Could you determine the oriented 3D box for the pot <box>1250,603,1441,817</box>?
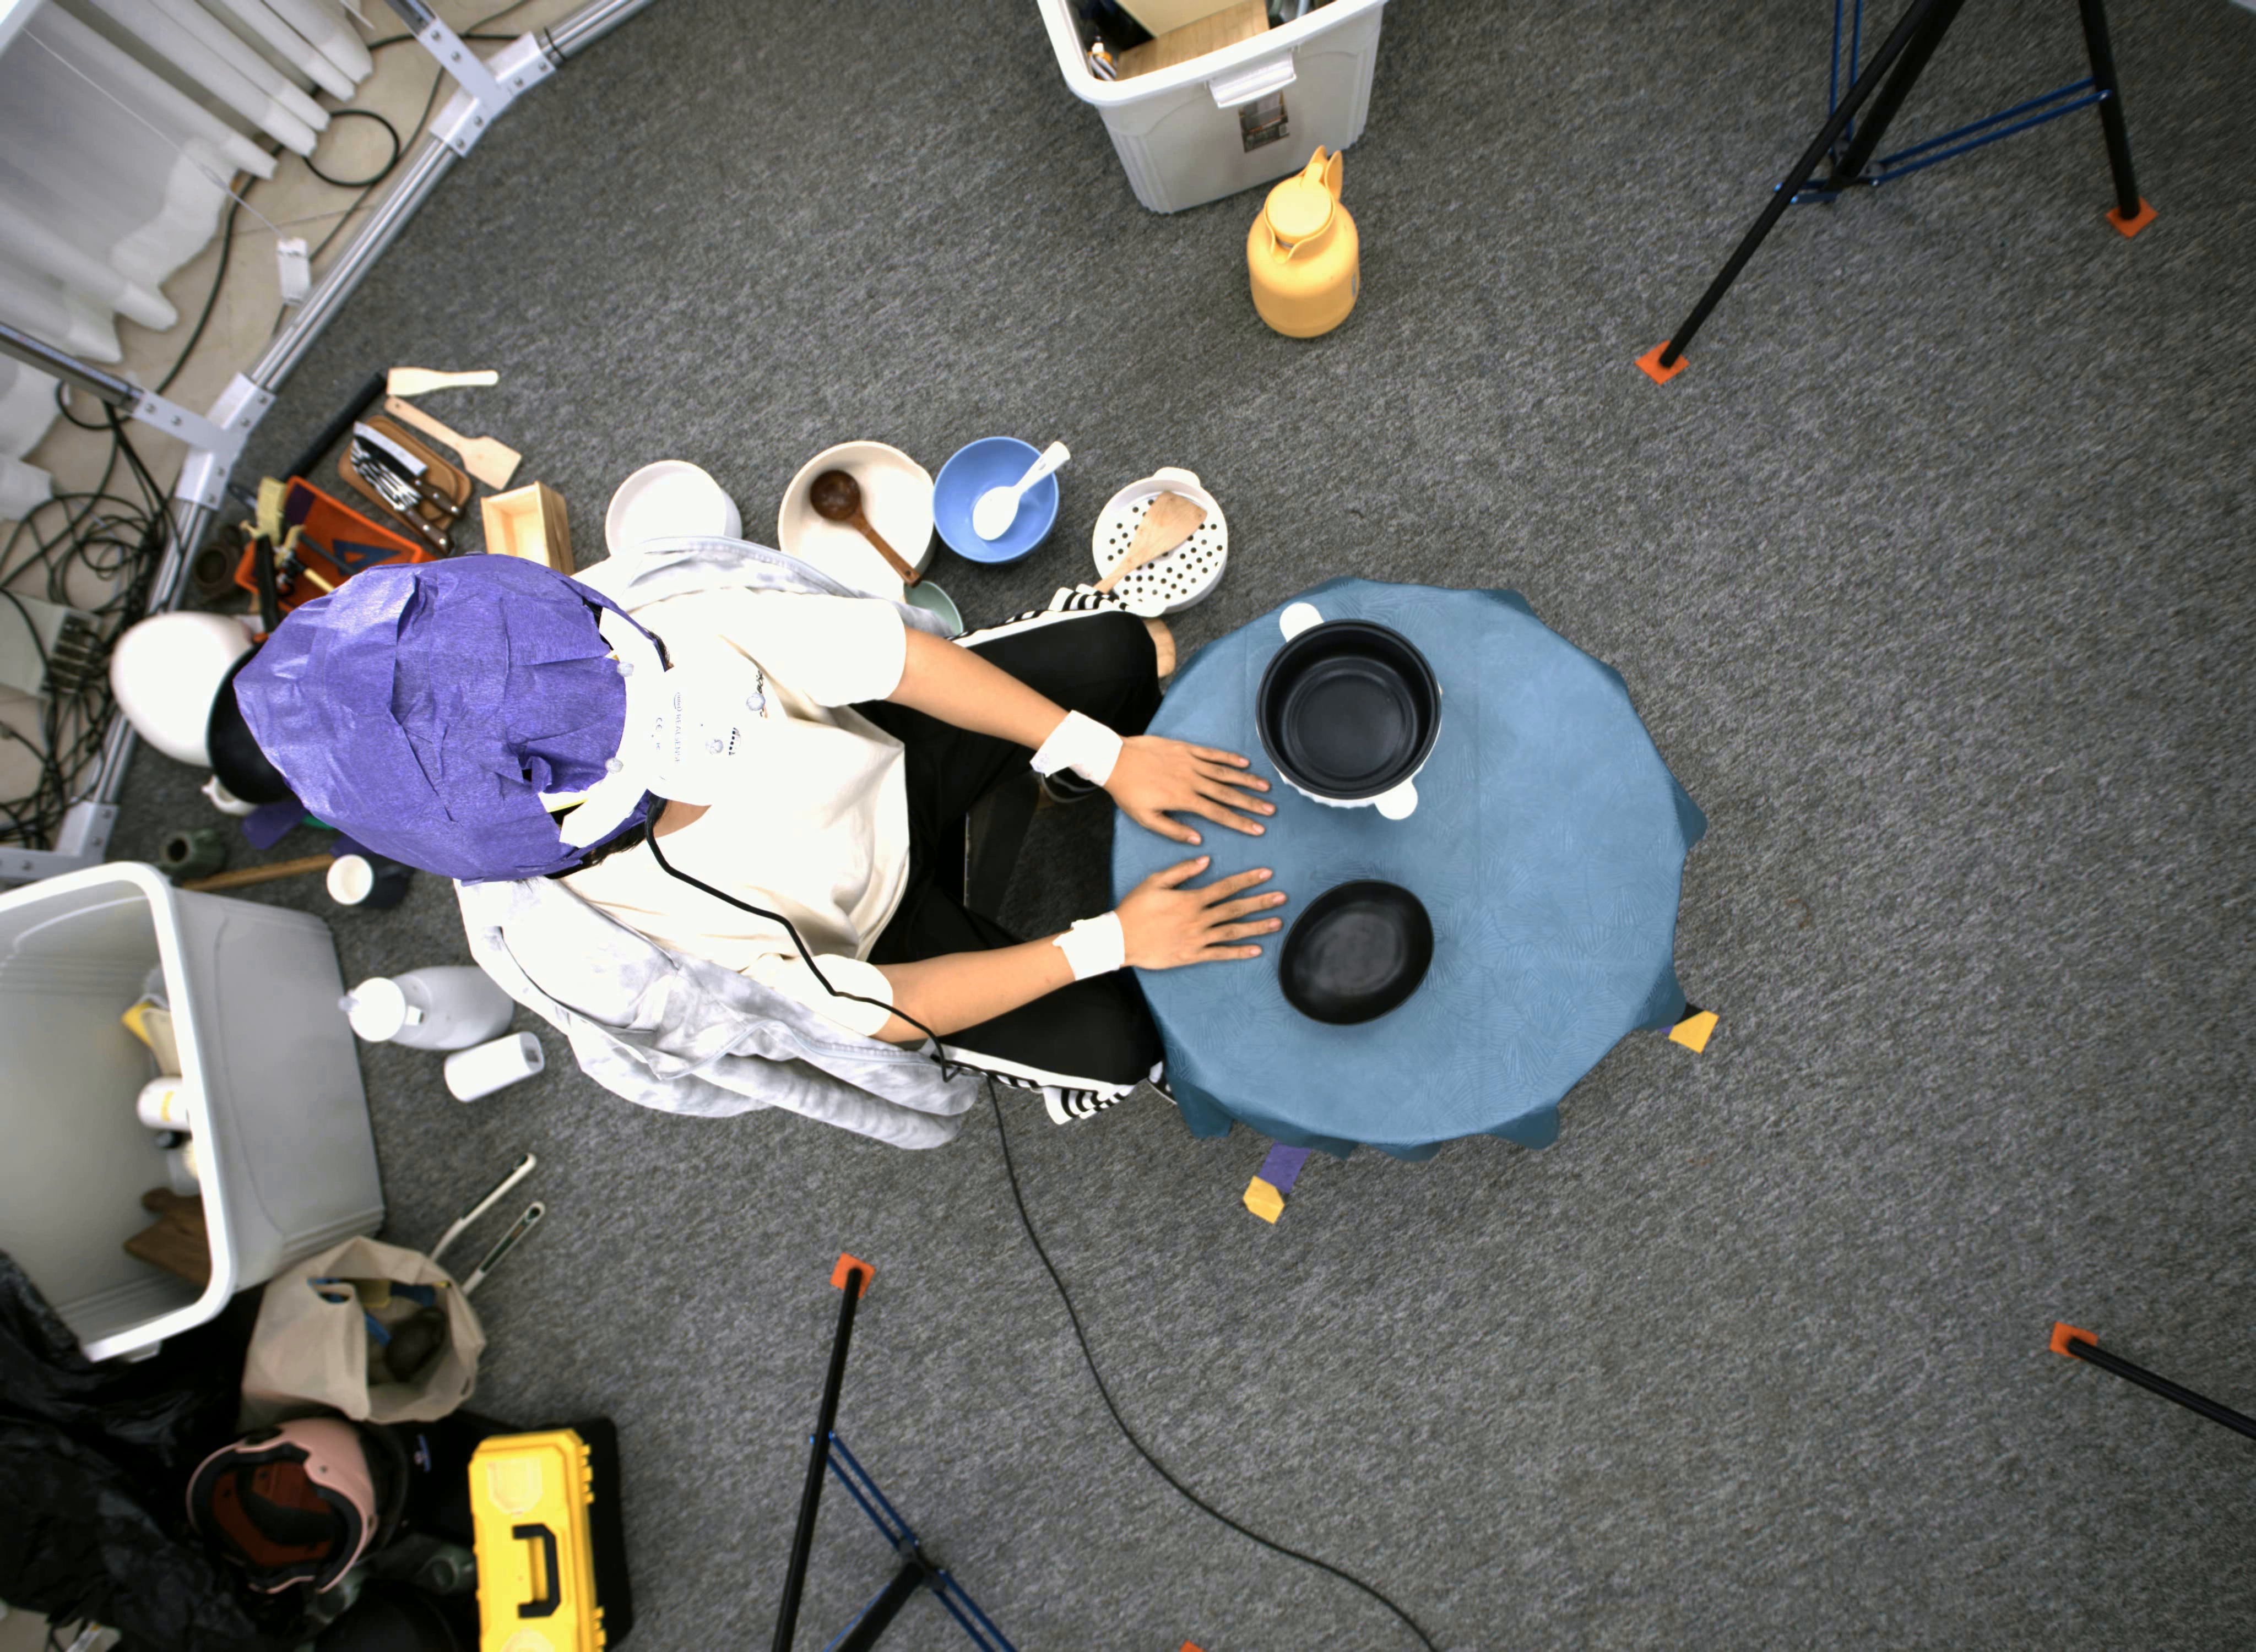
[{"bbox_3d":[0.229,-0.113,1.406,0.192,0.142,0.239,-29,82,10],"label":"pot"}]

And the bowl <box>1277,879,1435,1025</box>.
[{"bbox_3d":[0.236,0.131,1.429,0.171,0.067,0.136,-39,79,7],"label":"bowl"}]
